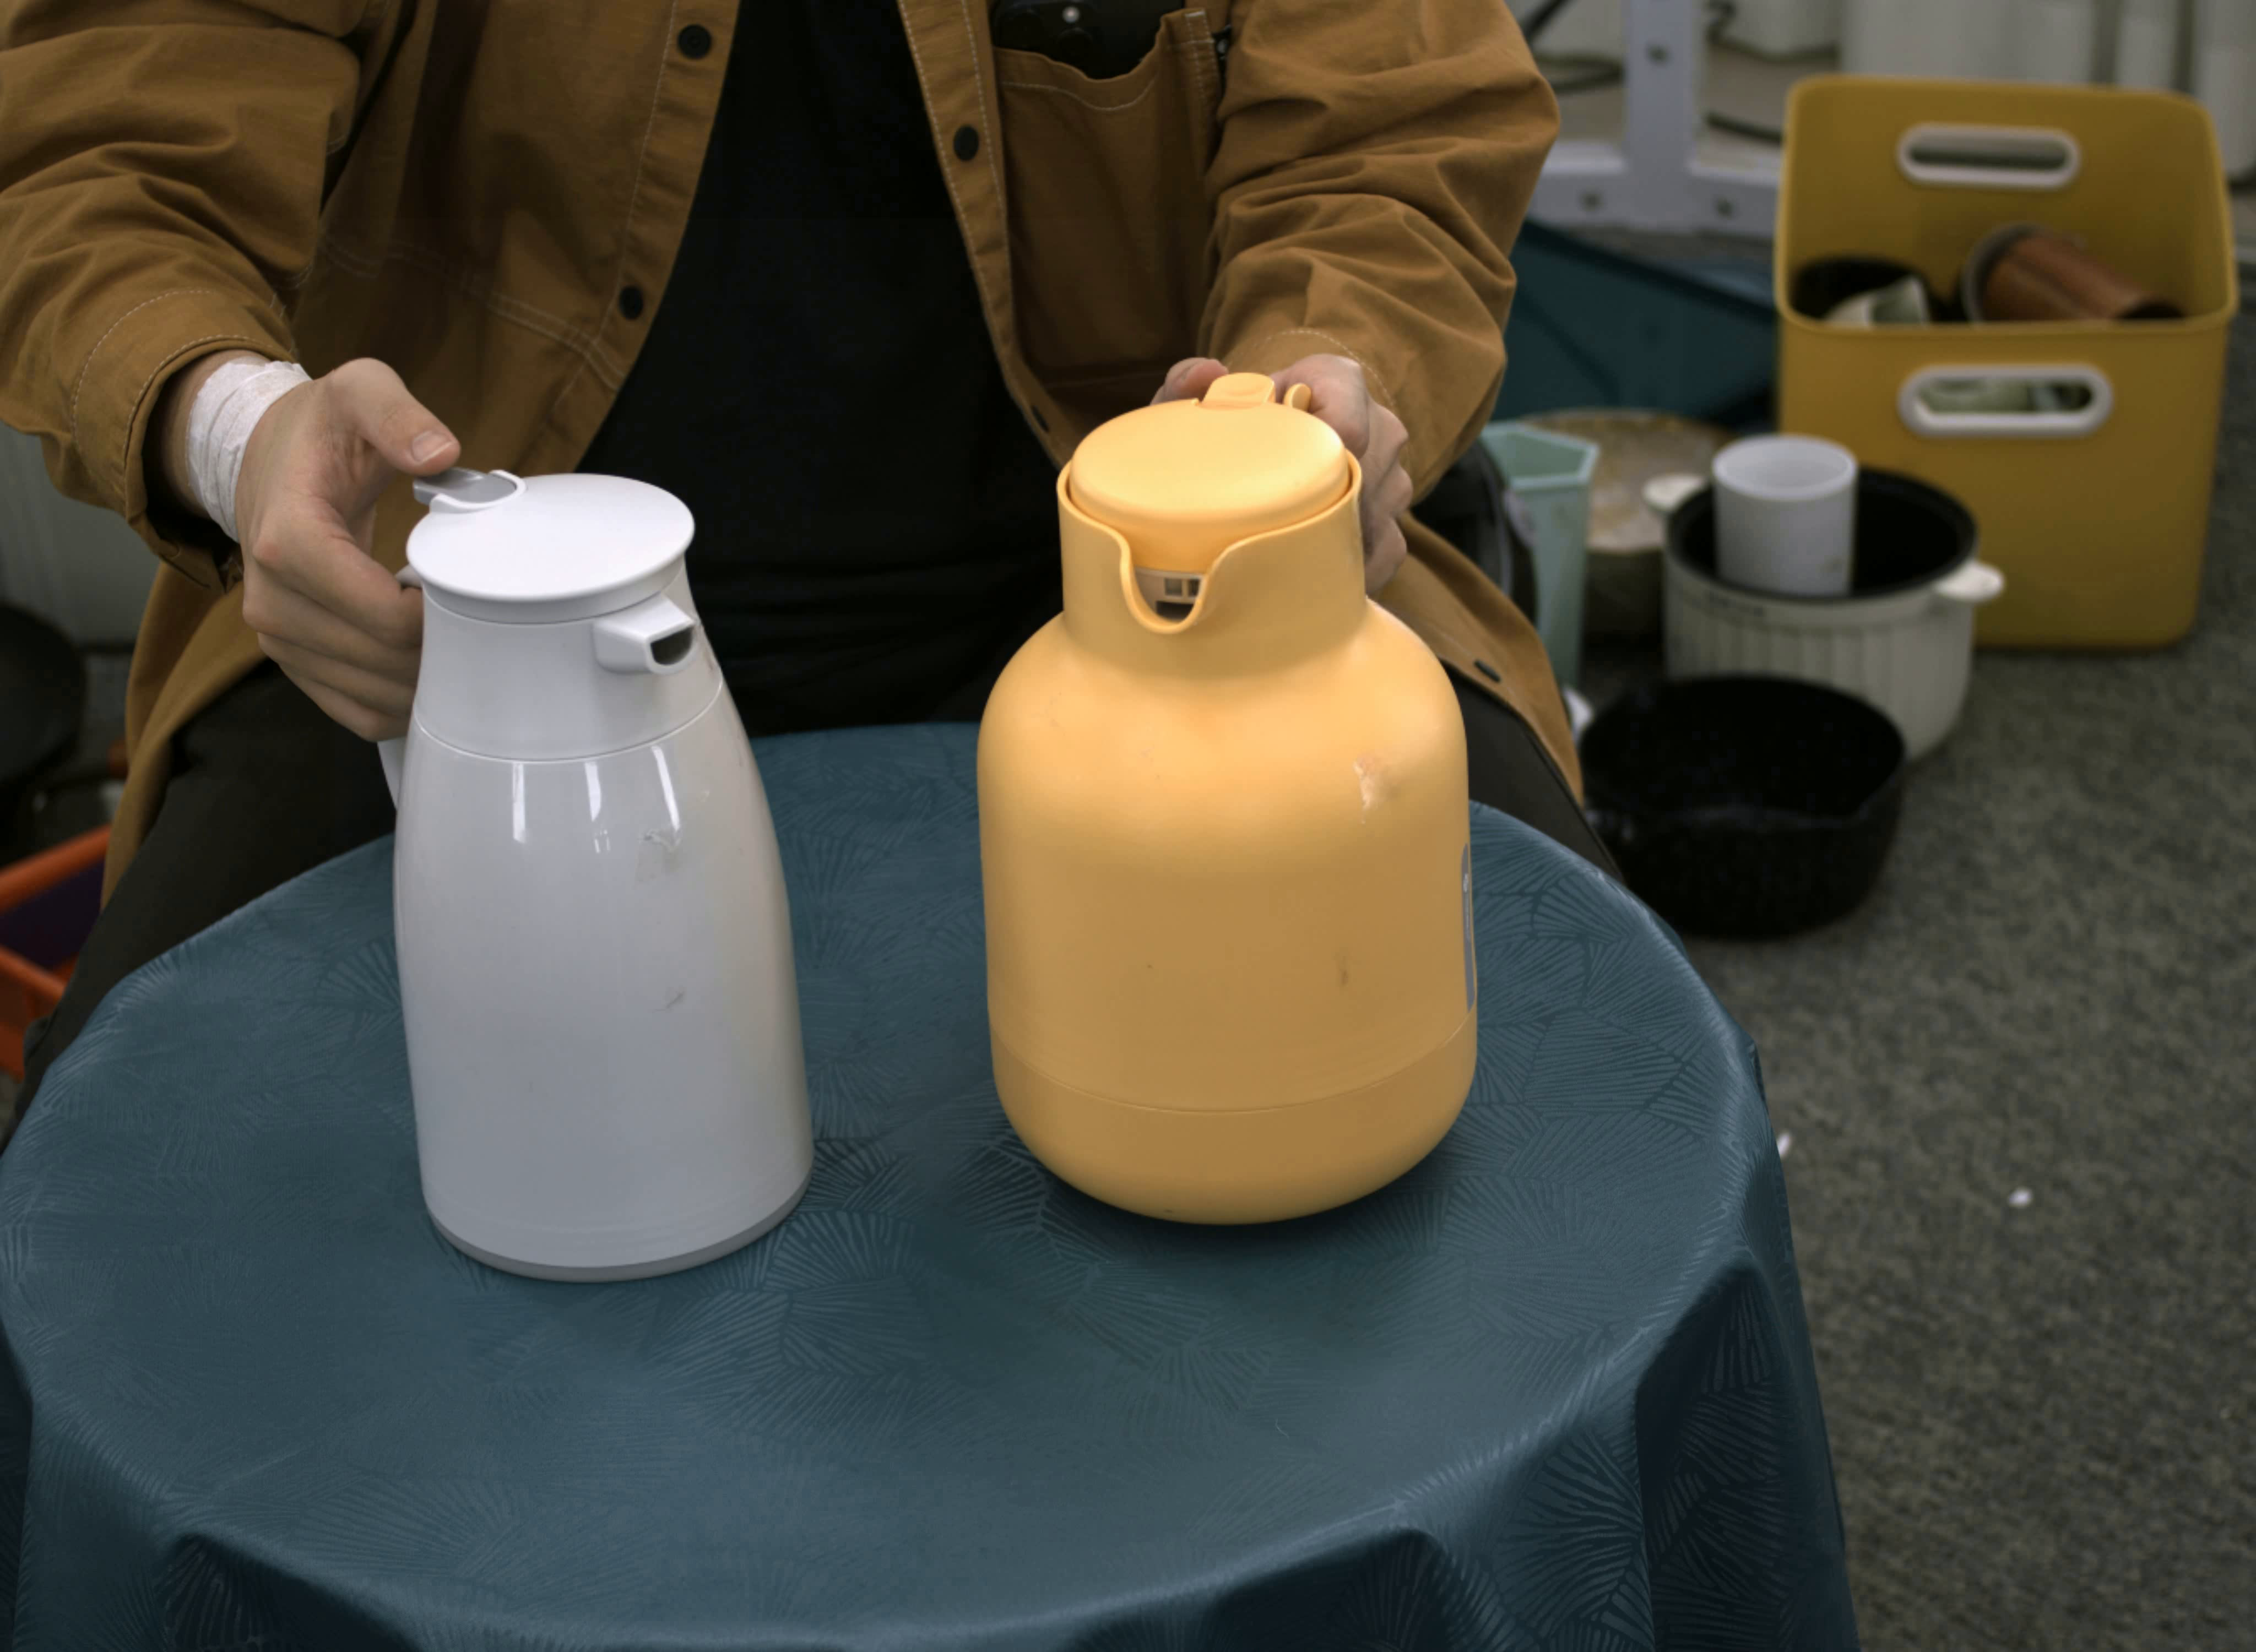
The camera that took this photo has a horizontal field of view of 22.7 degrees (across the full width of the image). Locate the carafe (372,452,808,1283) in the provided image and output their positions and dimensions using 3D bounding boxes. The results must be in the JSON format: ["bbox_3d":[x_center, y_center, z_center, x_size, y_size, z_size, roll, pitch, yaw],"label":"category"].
[{"bbox_3d":[-0.190,0.004,1.839,0.134,0.246,0.167,-22,31,-36],"label":"carafe"}]

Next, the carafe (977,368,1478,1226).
[{"bbox_3d":[0.037,-0.019,1.849,0.162,0.257,0.206,5,29,13],"label":"carafe"}]
